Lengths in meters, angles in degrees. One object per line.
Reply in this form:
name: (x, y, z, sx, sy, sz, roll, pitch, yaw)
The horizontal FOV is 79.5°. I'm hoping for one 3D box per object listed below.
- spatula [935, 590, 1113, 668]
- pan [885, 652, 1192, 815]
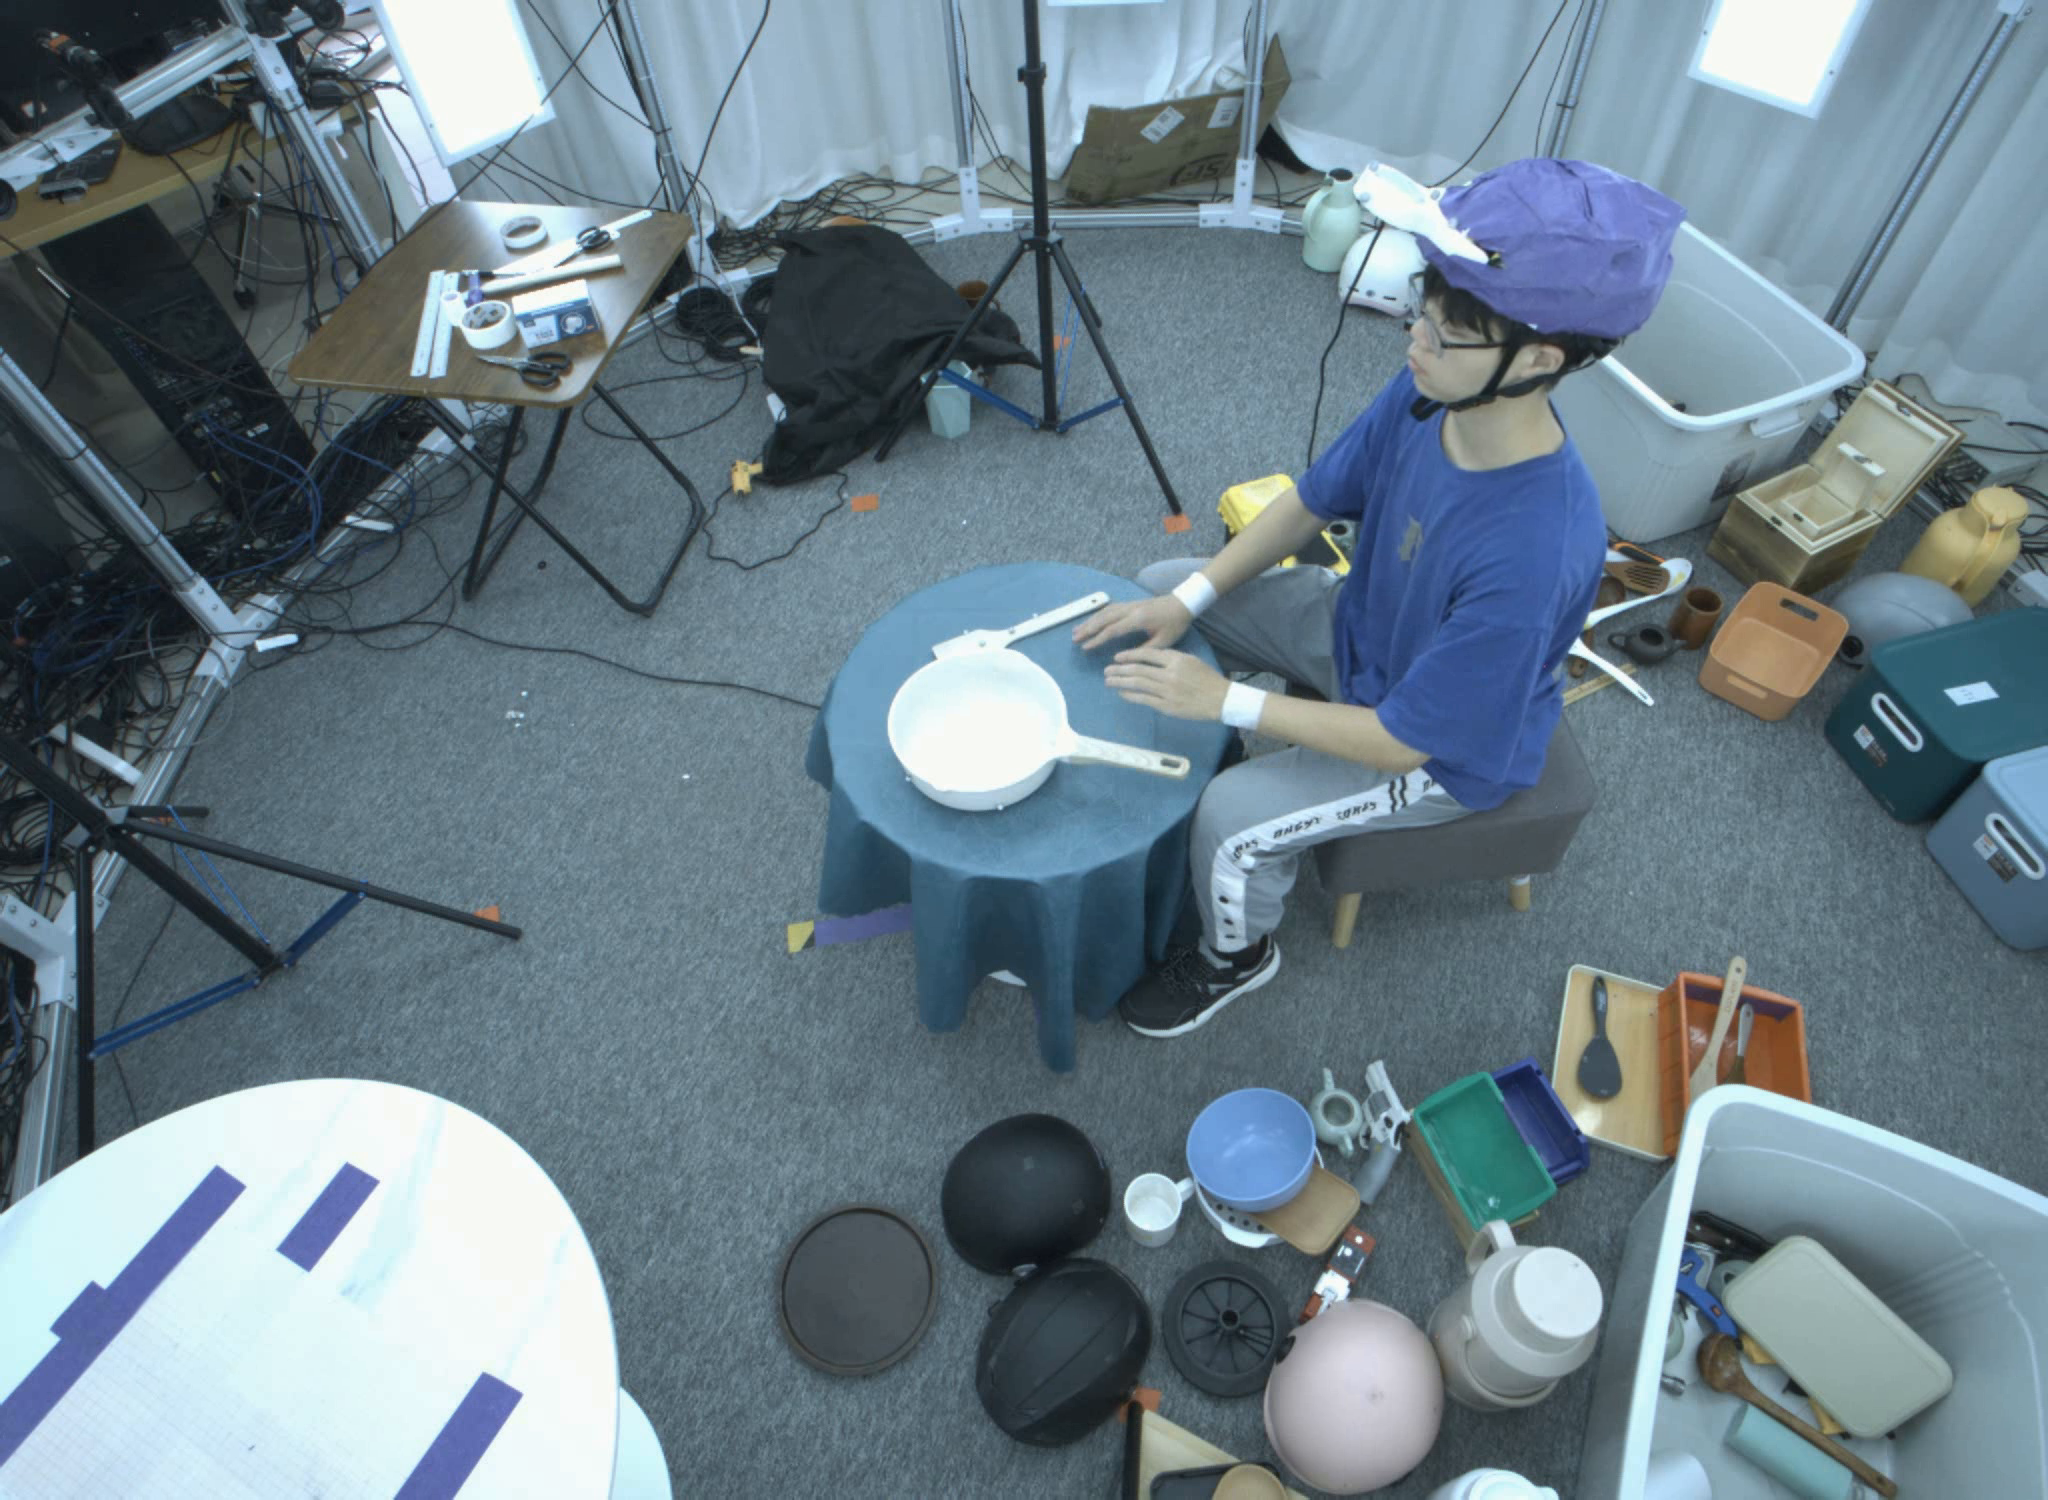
spatula: (0.005, -0.189, 1.907, 0.295, 0.011, 0.071, -23, 55, -14)
pan: (0.020, 0.001, 1.714, 0.431, 0.103, 0.263, 15, 55, 12)
